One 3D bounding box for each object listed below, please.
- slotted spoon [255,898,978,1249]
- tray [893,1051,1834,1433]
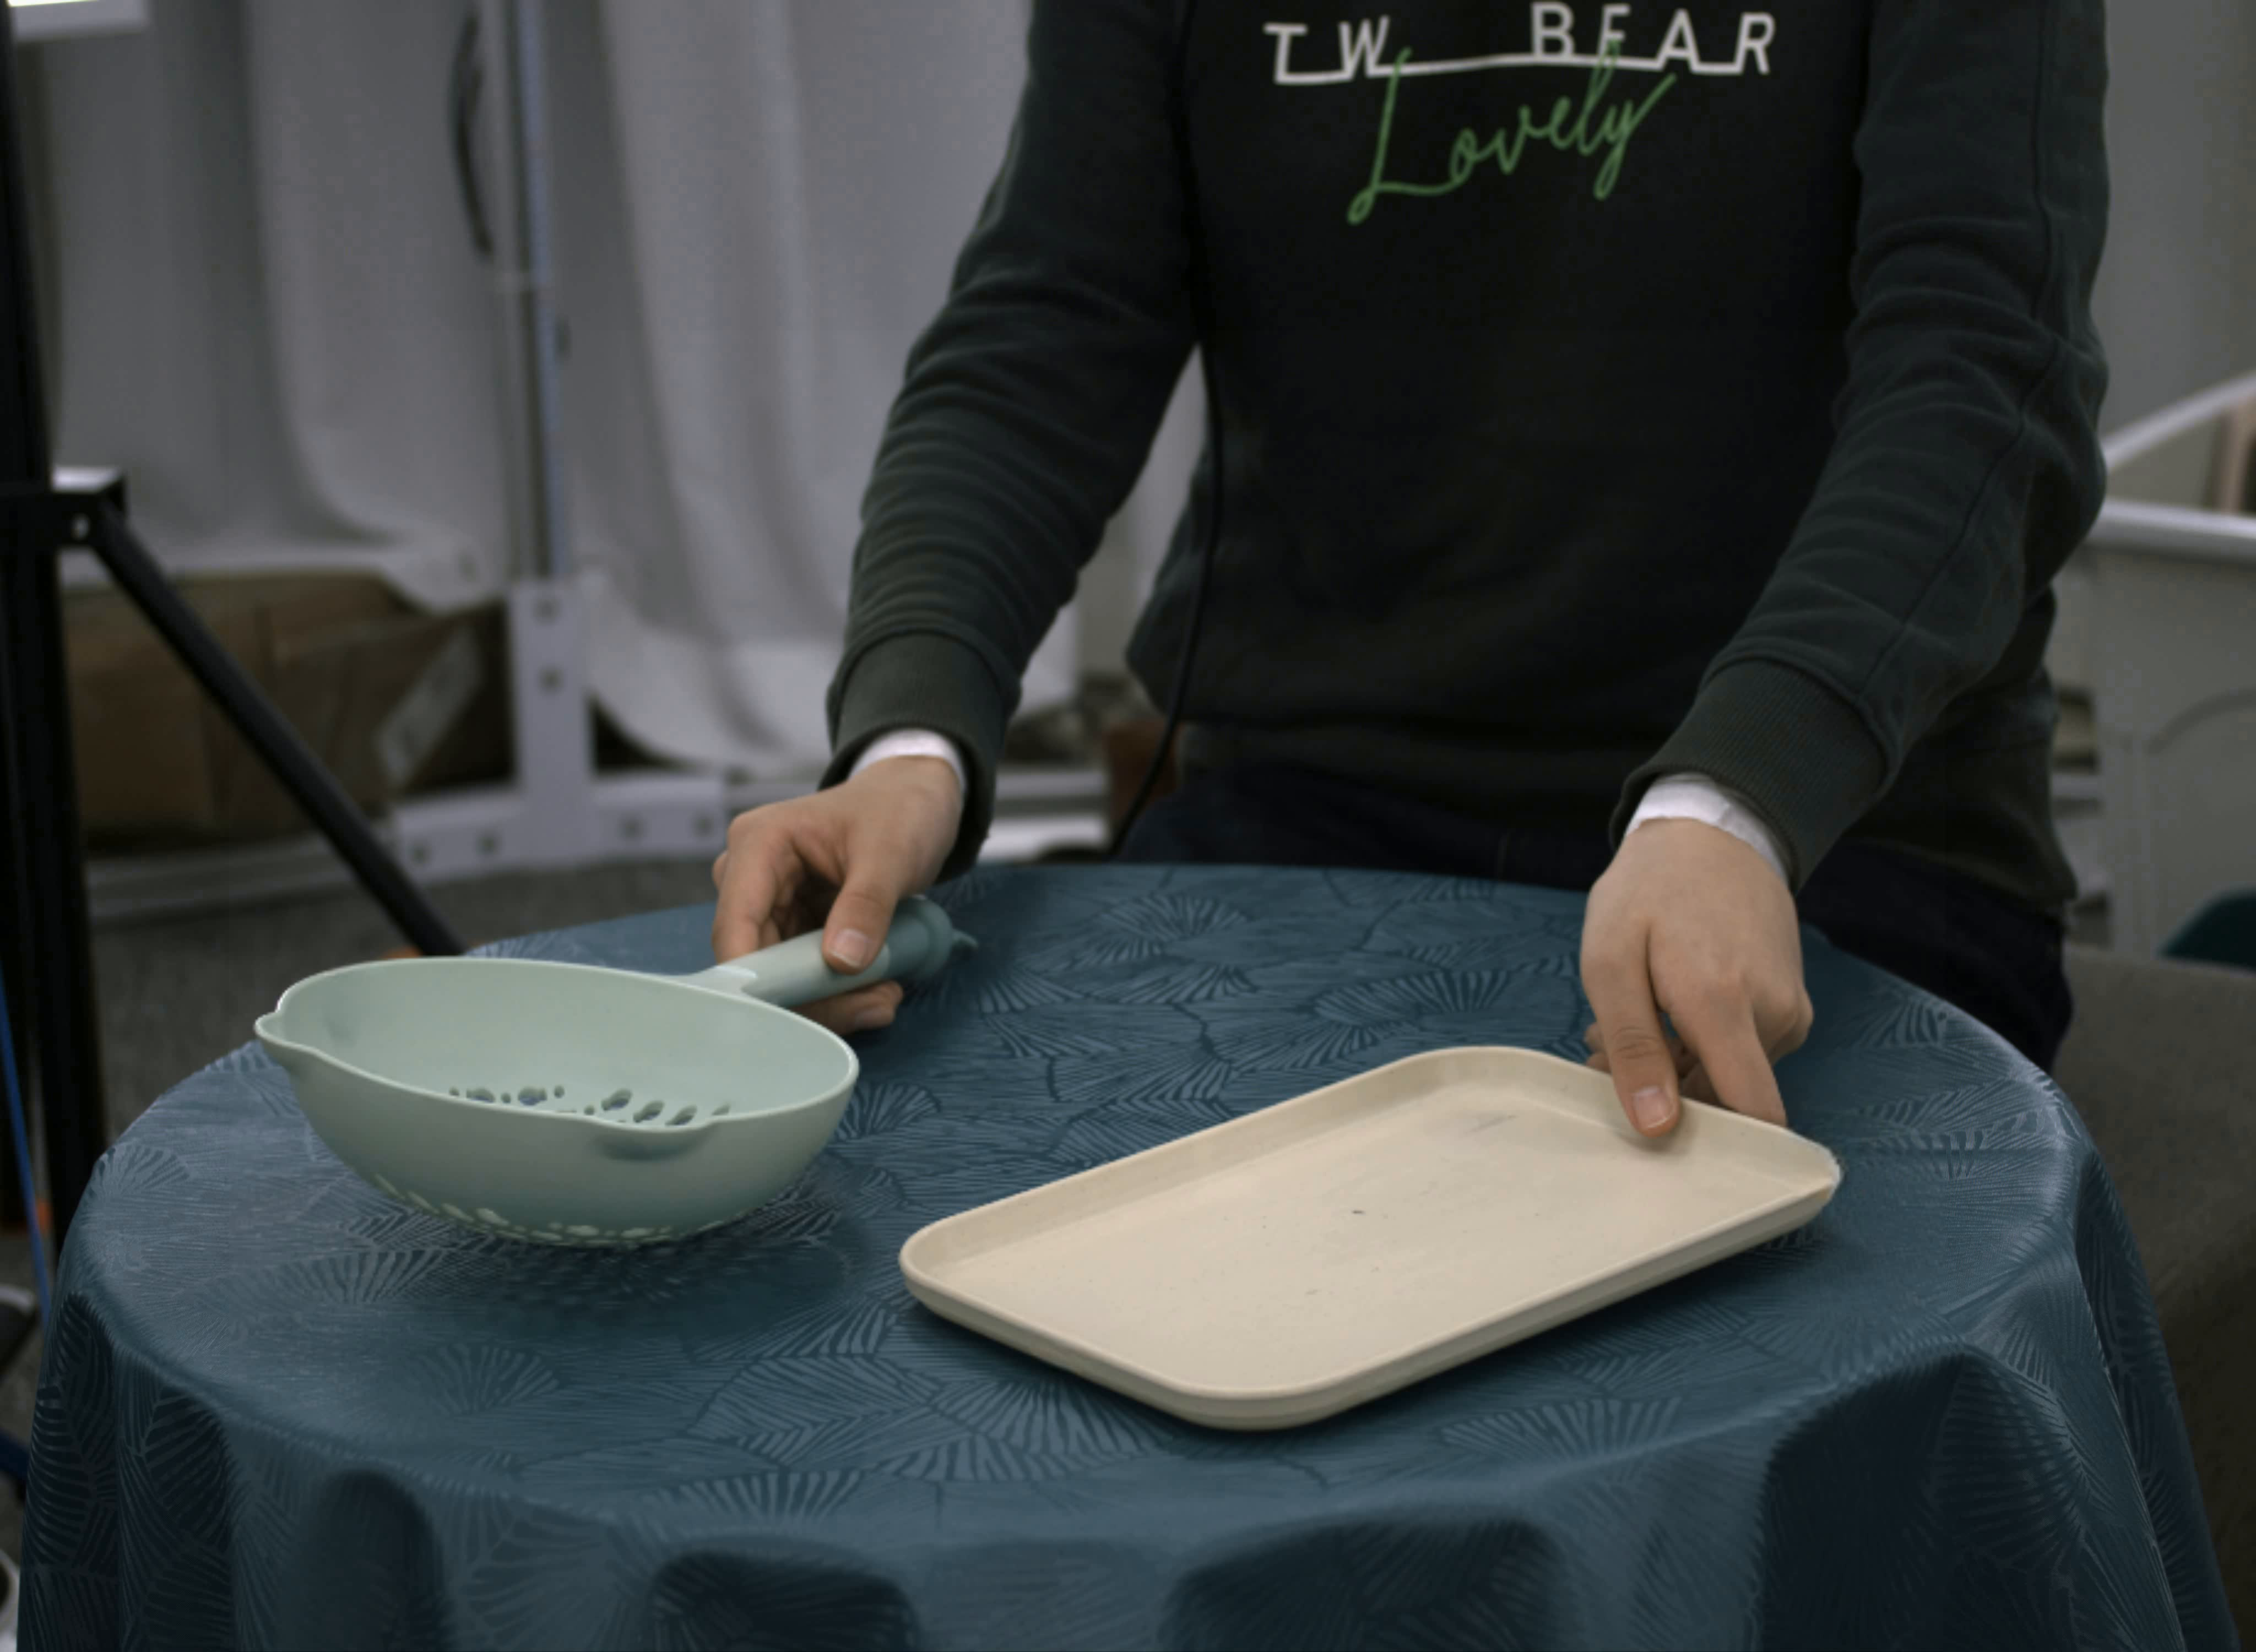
[{"bbox_3d":[-0.125,0.059,1.629,0.171,0.075,0.354,13,21,21],"label":"slotted spoon"},{"bbox_3d":[0.067,0.114,1.479,0.234,0.017,0.175,-16,21,-36],"label":"tray"}]
